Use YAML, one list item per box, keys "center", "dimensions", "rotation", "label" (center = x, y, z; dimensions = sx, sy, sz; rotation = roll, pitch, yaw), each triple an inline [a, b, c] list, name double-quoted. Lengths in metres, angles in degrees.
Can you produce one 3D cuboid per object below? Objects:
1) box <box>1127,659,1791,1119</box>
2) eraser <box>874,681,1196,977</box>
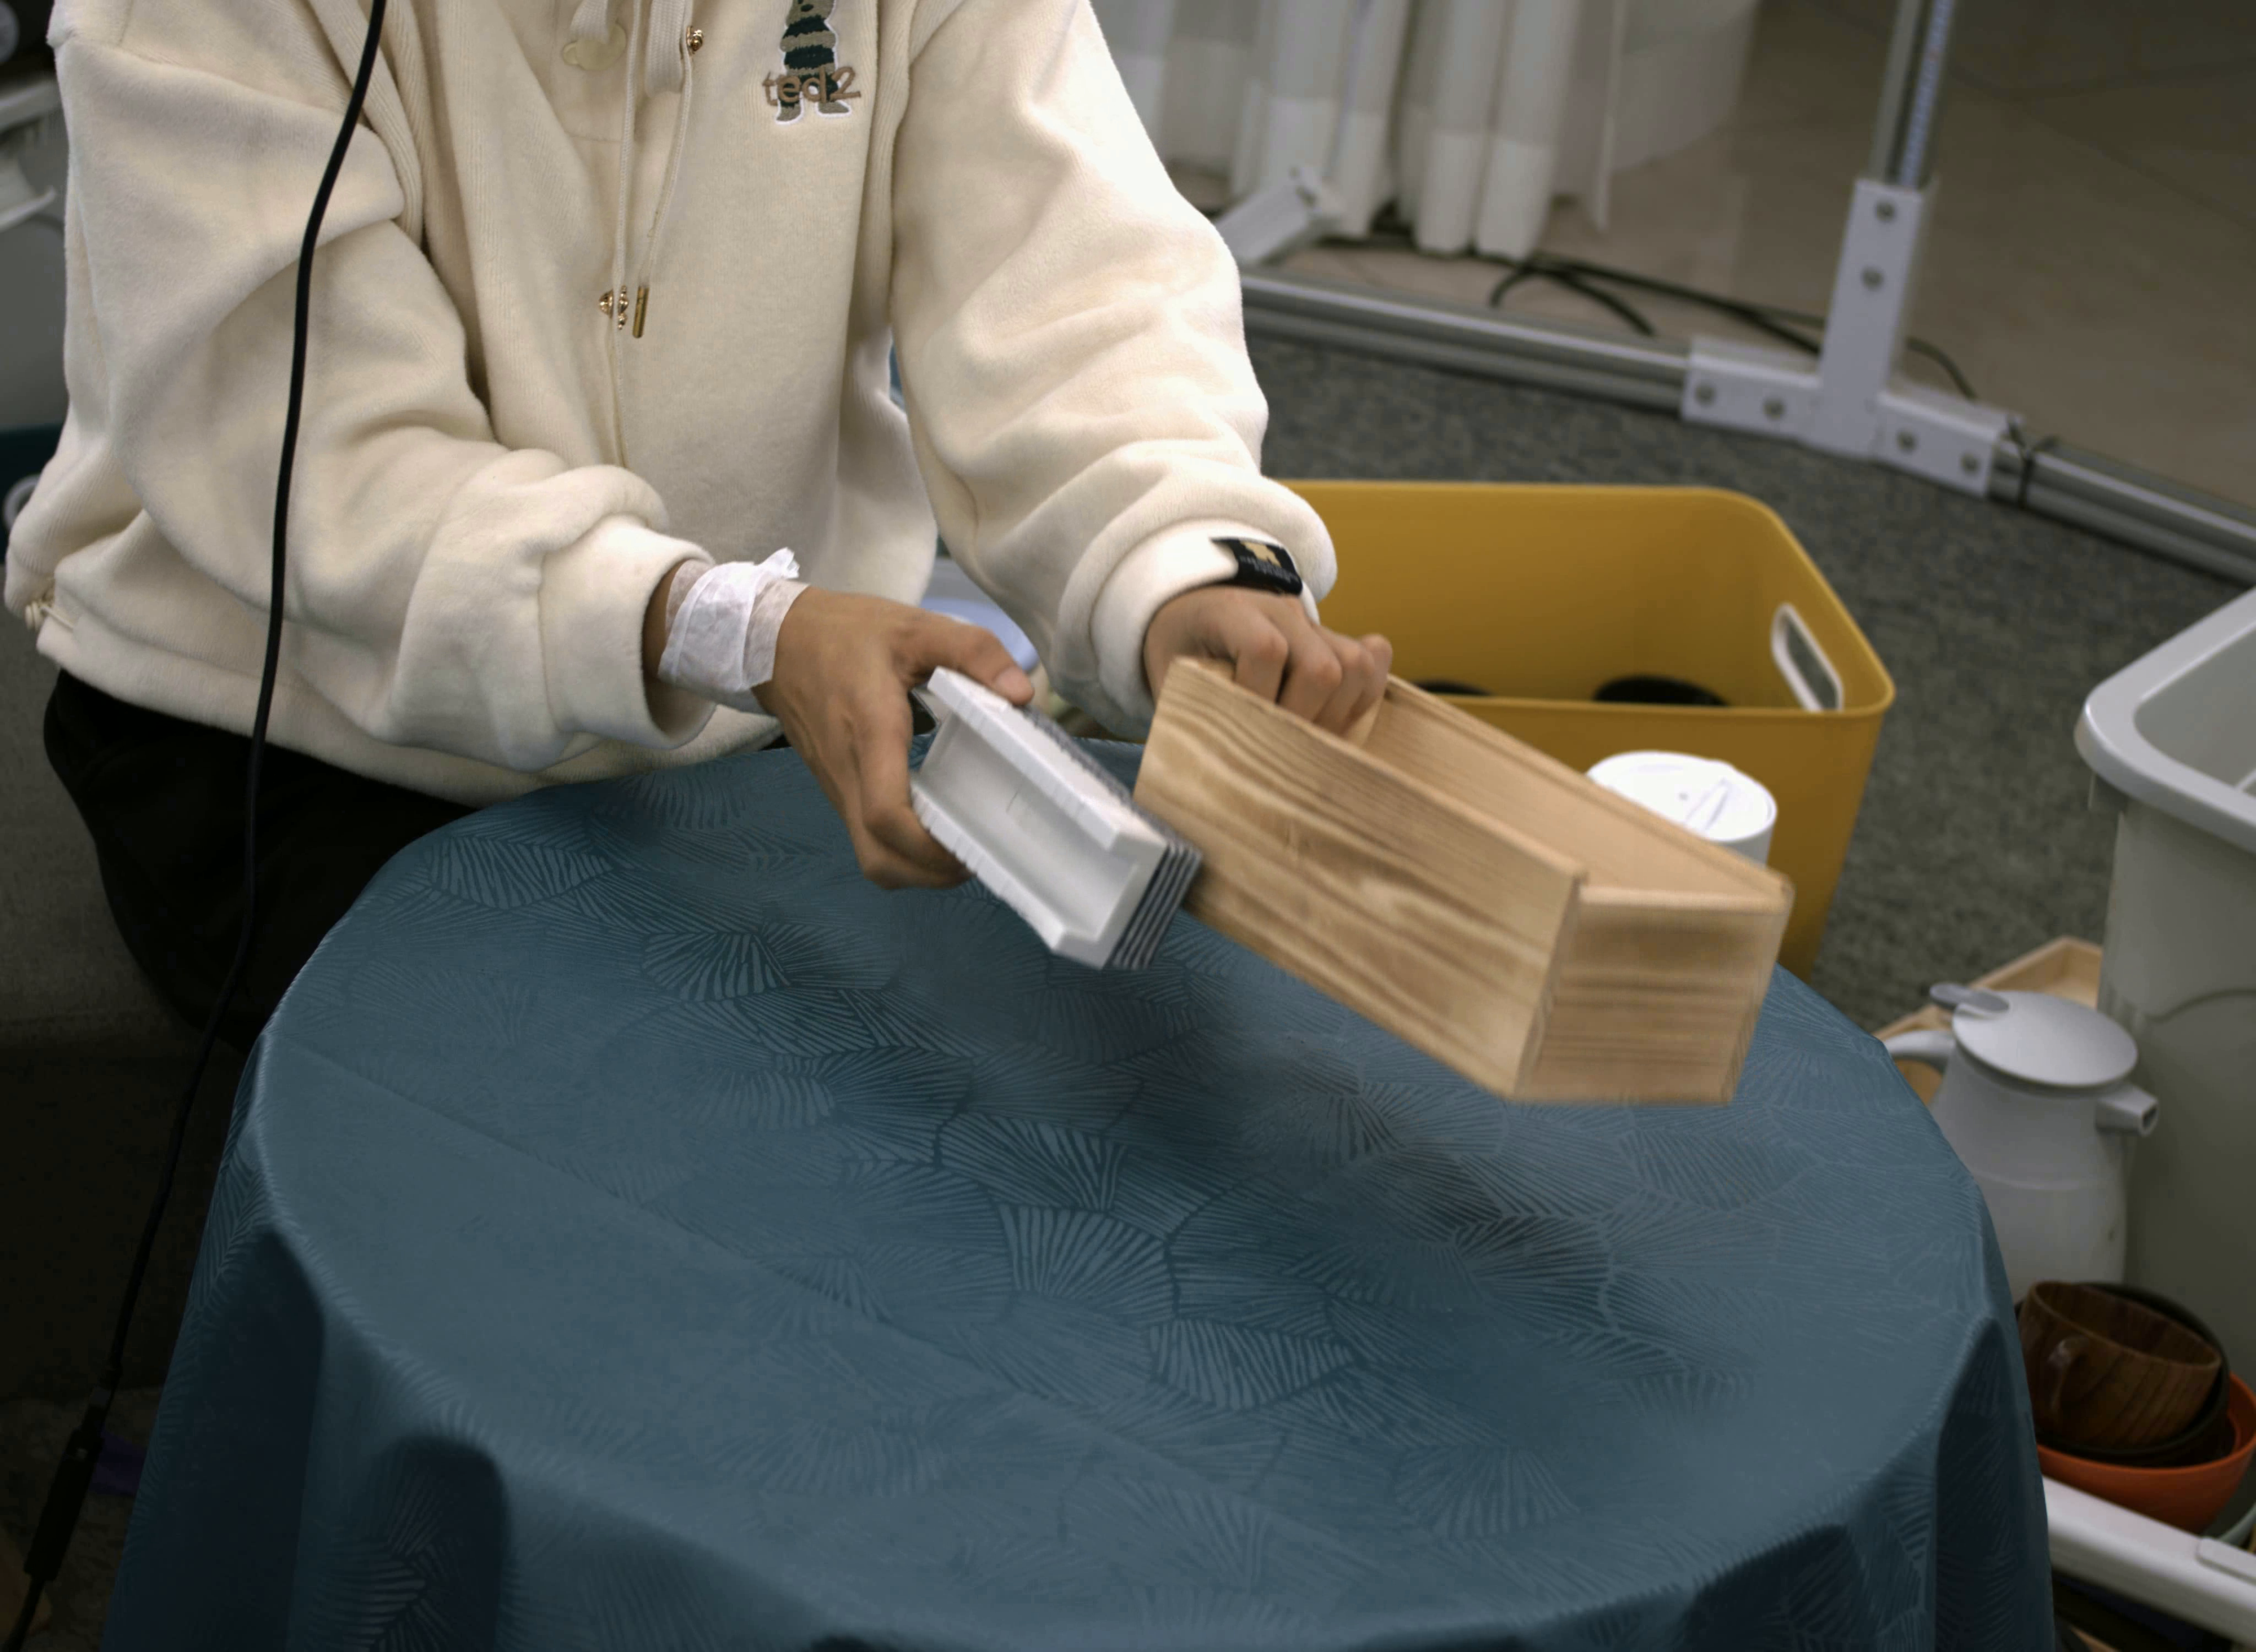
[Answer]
- center: [0.106, 0.020, 1.799]
  dimensions: [0.106, 0.080, 0.213]
  rotation: [4, 19, -41]
  label: "box"
- center: [-0.033, 0.001, 1.850]
  dimensions: [0.046, 0.050, 0.135]
  rotation: [16, 14, -38]
  label: "eraser"
